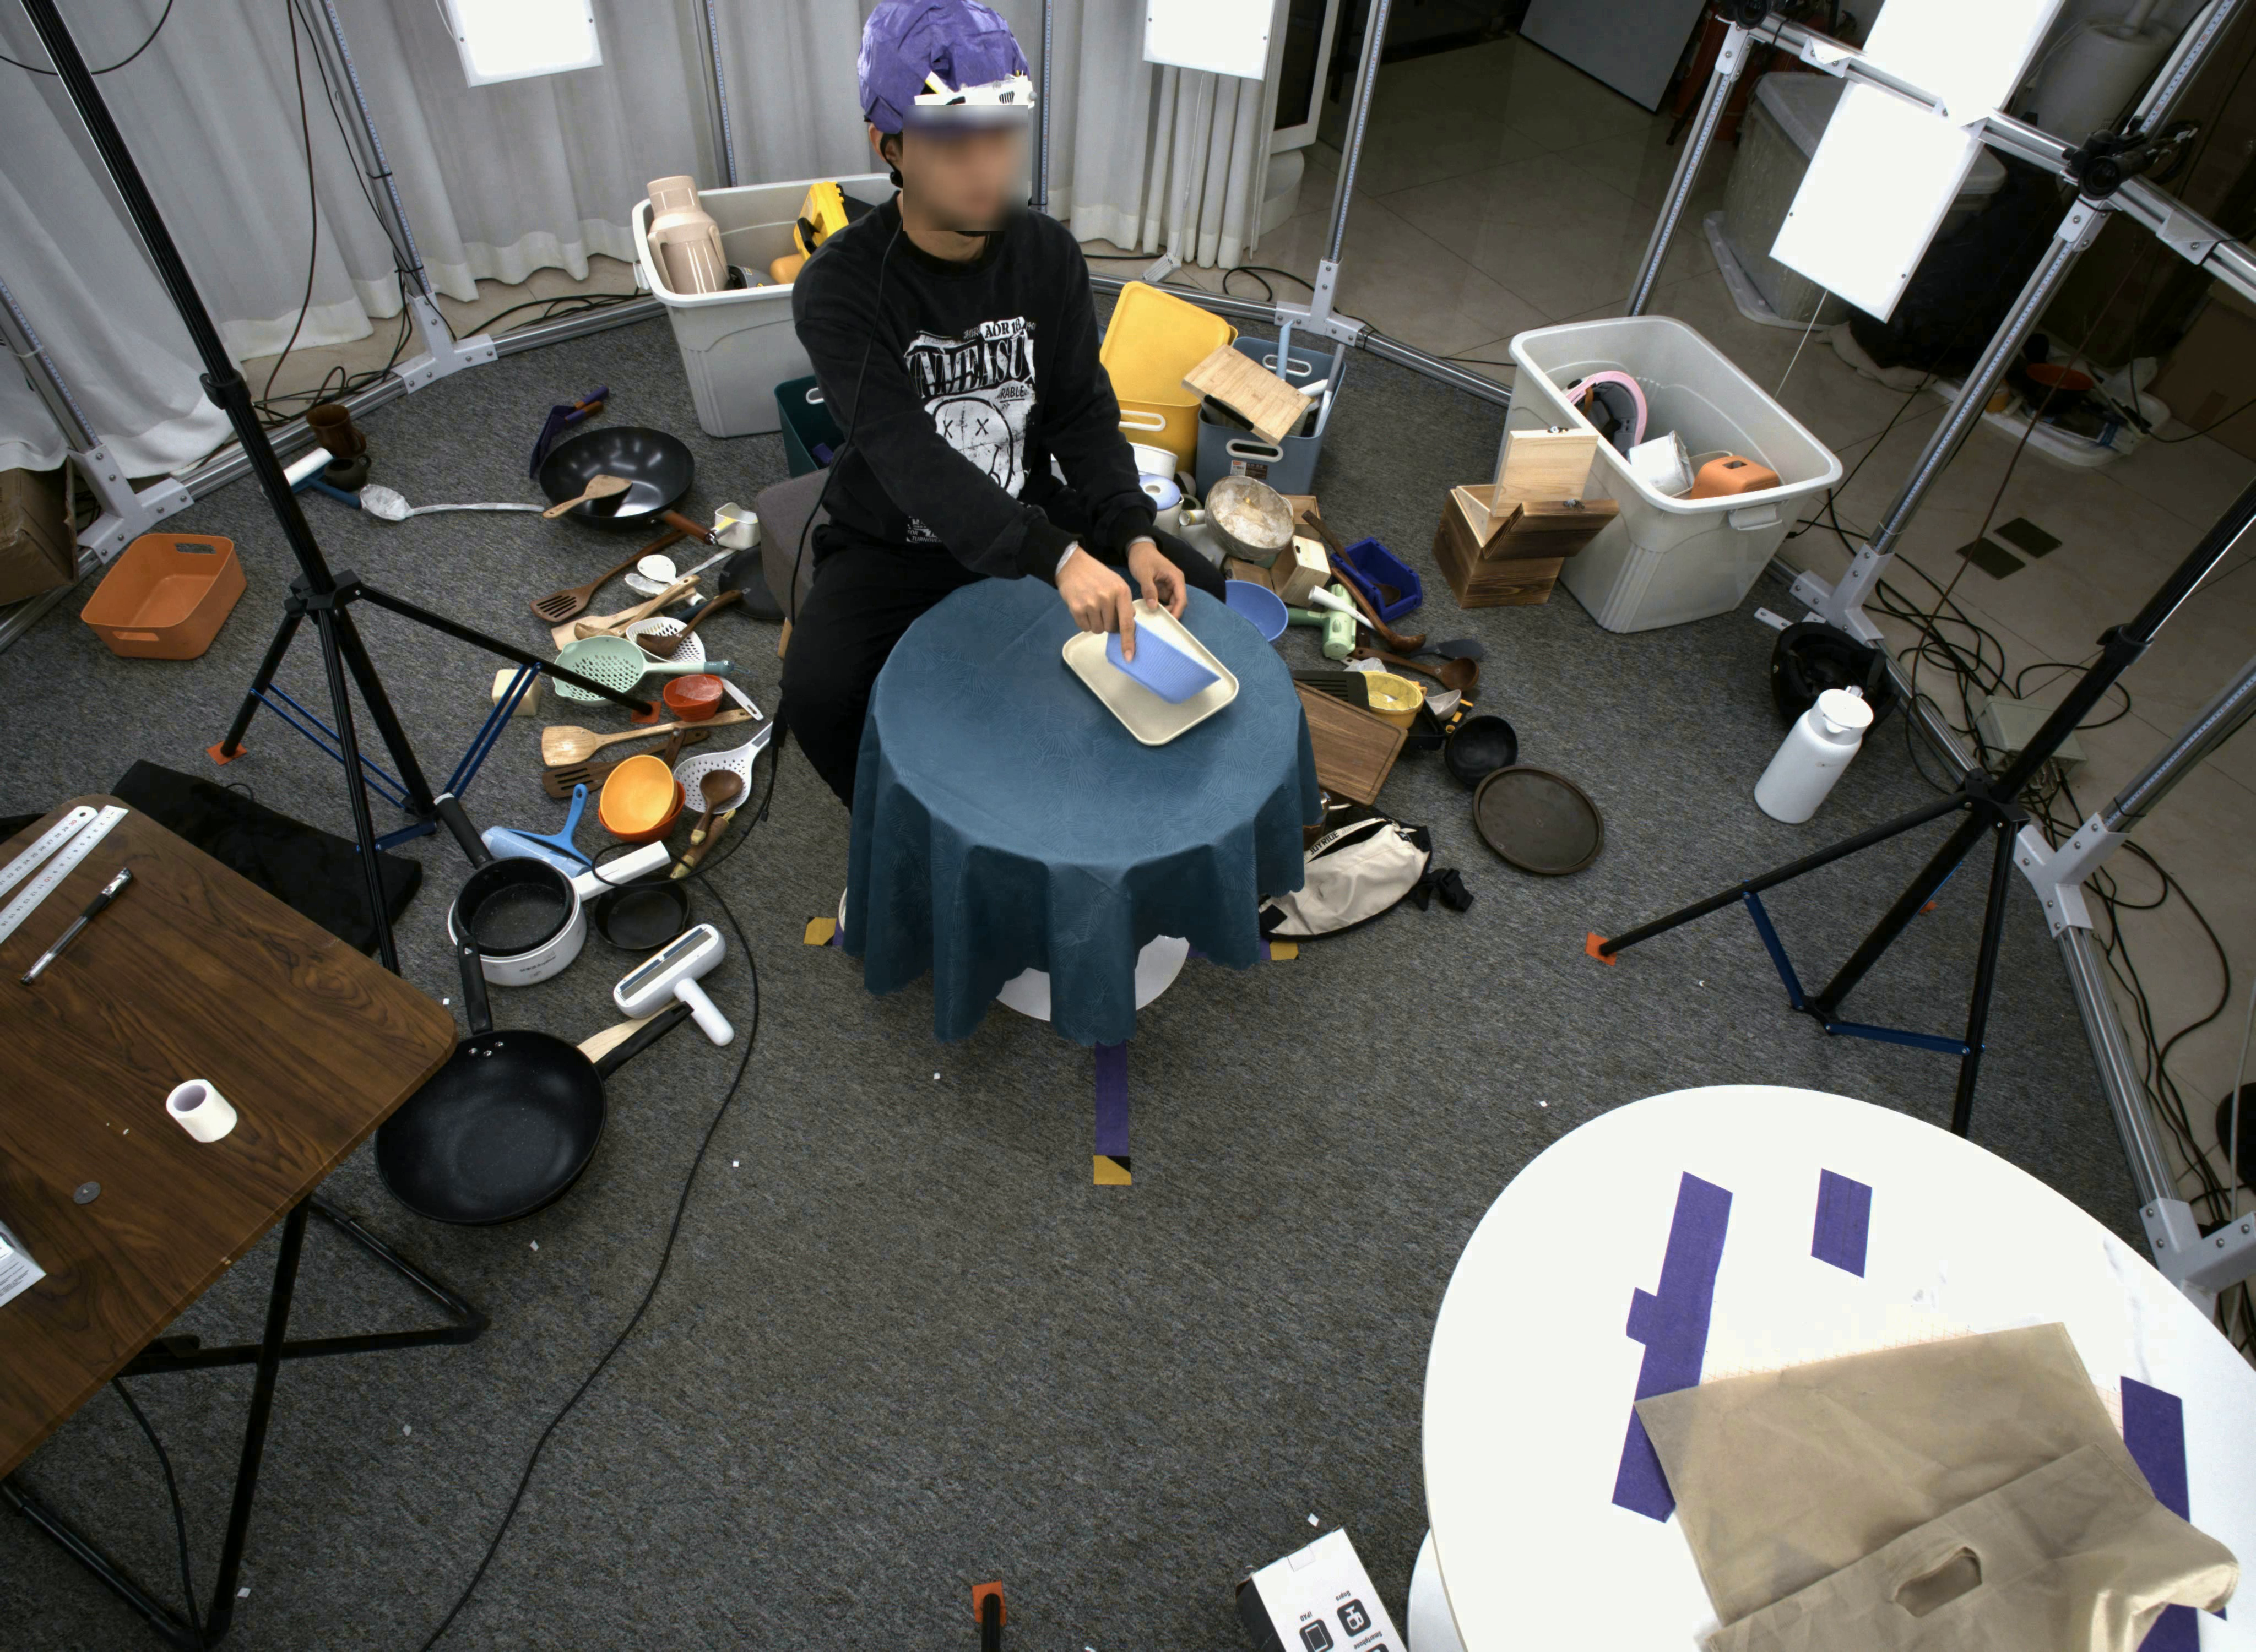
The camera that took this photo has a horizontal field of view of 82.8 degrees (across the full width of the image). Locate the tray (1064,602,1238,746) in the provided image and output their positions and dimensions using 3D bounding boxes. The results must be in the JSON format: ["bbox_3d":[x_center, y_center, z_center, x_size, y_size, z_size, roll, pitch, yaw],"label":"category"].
[{"bbox_3d":[0.032,-0.220,1.850,0.172,0.017,0.244,-32,57,-15],"label":"tray"}]

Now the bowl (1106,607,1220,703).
[{"bbox_3d":[0.036,-0.226,1.761,0.178,0.174,0.070,37,98,24],"label":"bowl"}]
